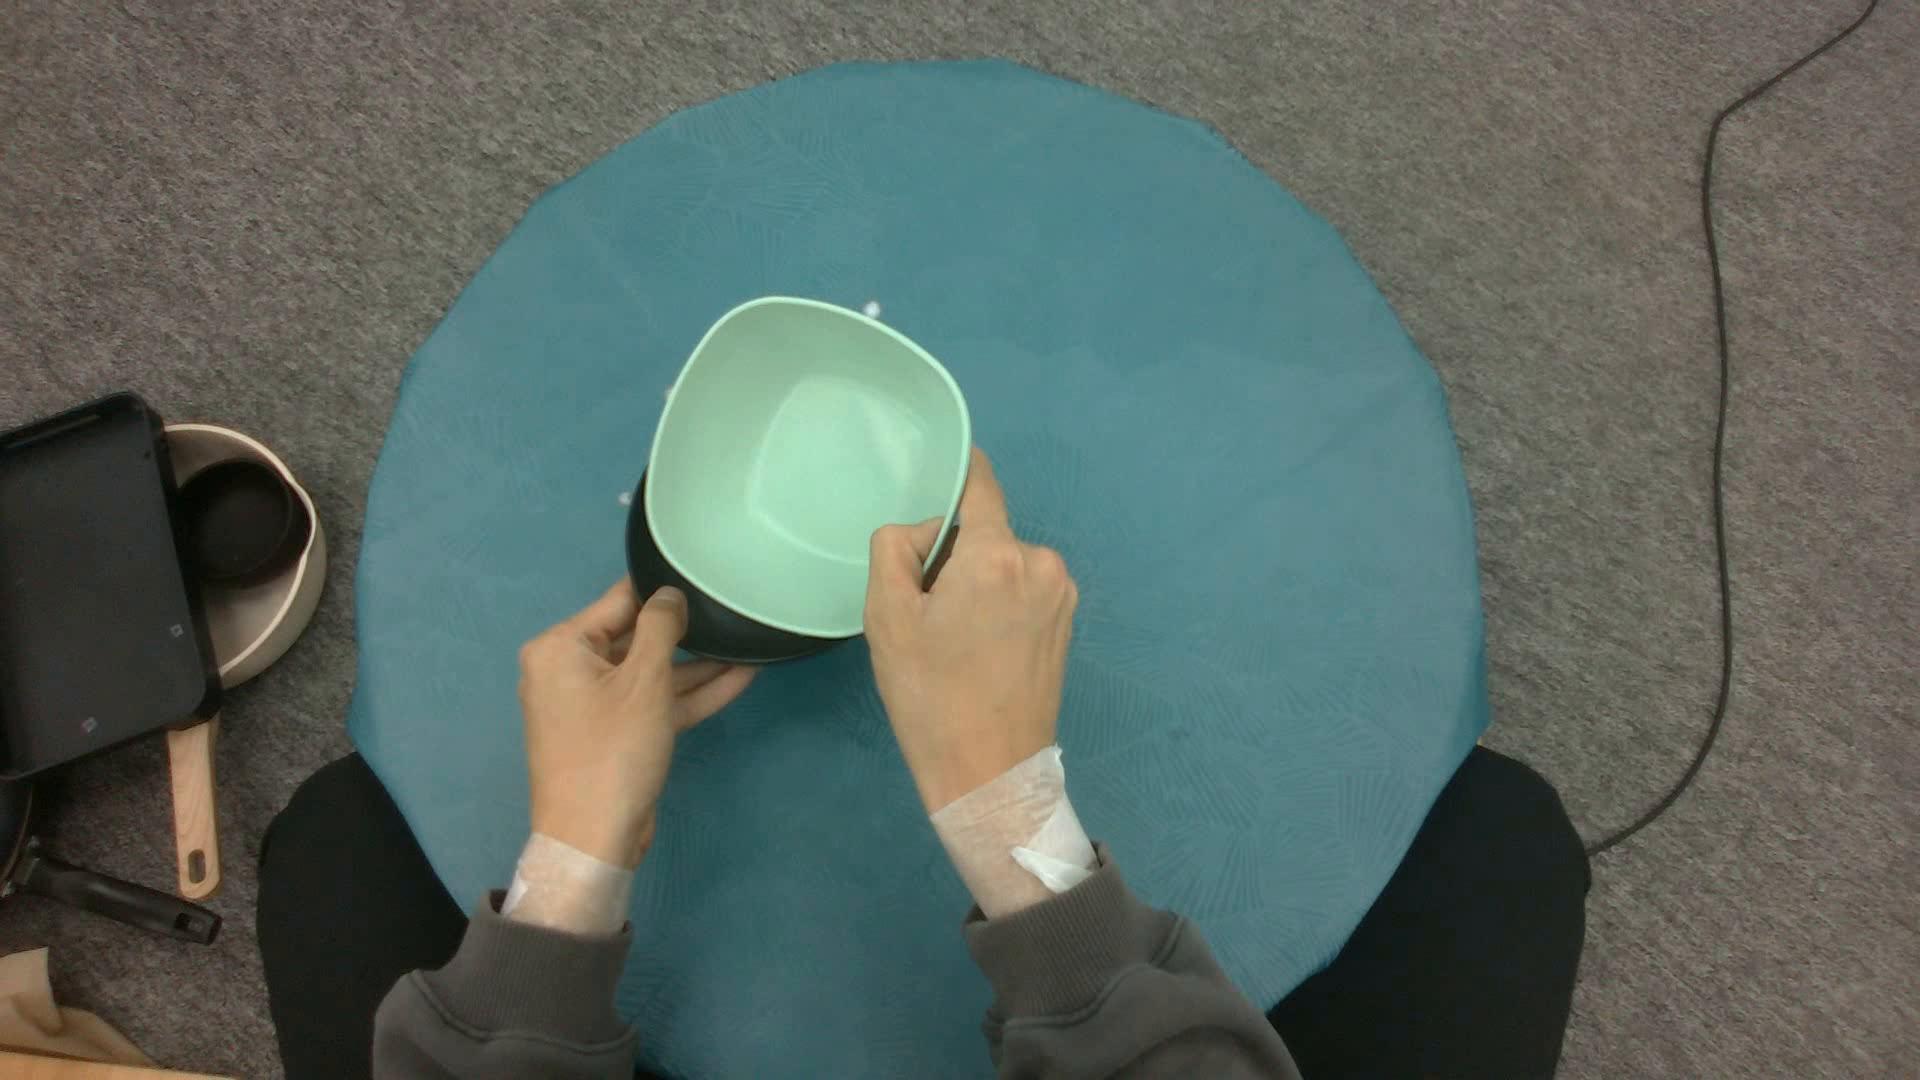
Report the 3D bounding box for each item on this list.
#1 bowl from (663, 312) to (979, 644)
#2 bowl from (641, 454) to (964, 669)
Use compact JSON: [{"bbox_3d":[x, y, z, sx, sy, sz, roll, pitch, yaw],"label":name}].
[{"bbox_3d":[-0.056,-0.027,0.629,0.151,0.059,0.151,0,88,14],"label":"bowl"},{"bbox_3d":[-0.078,-0.003,0.700,0.171,0.066,0.137,-38,77,-16],"label":"bowl"}]
